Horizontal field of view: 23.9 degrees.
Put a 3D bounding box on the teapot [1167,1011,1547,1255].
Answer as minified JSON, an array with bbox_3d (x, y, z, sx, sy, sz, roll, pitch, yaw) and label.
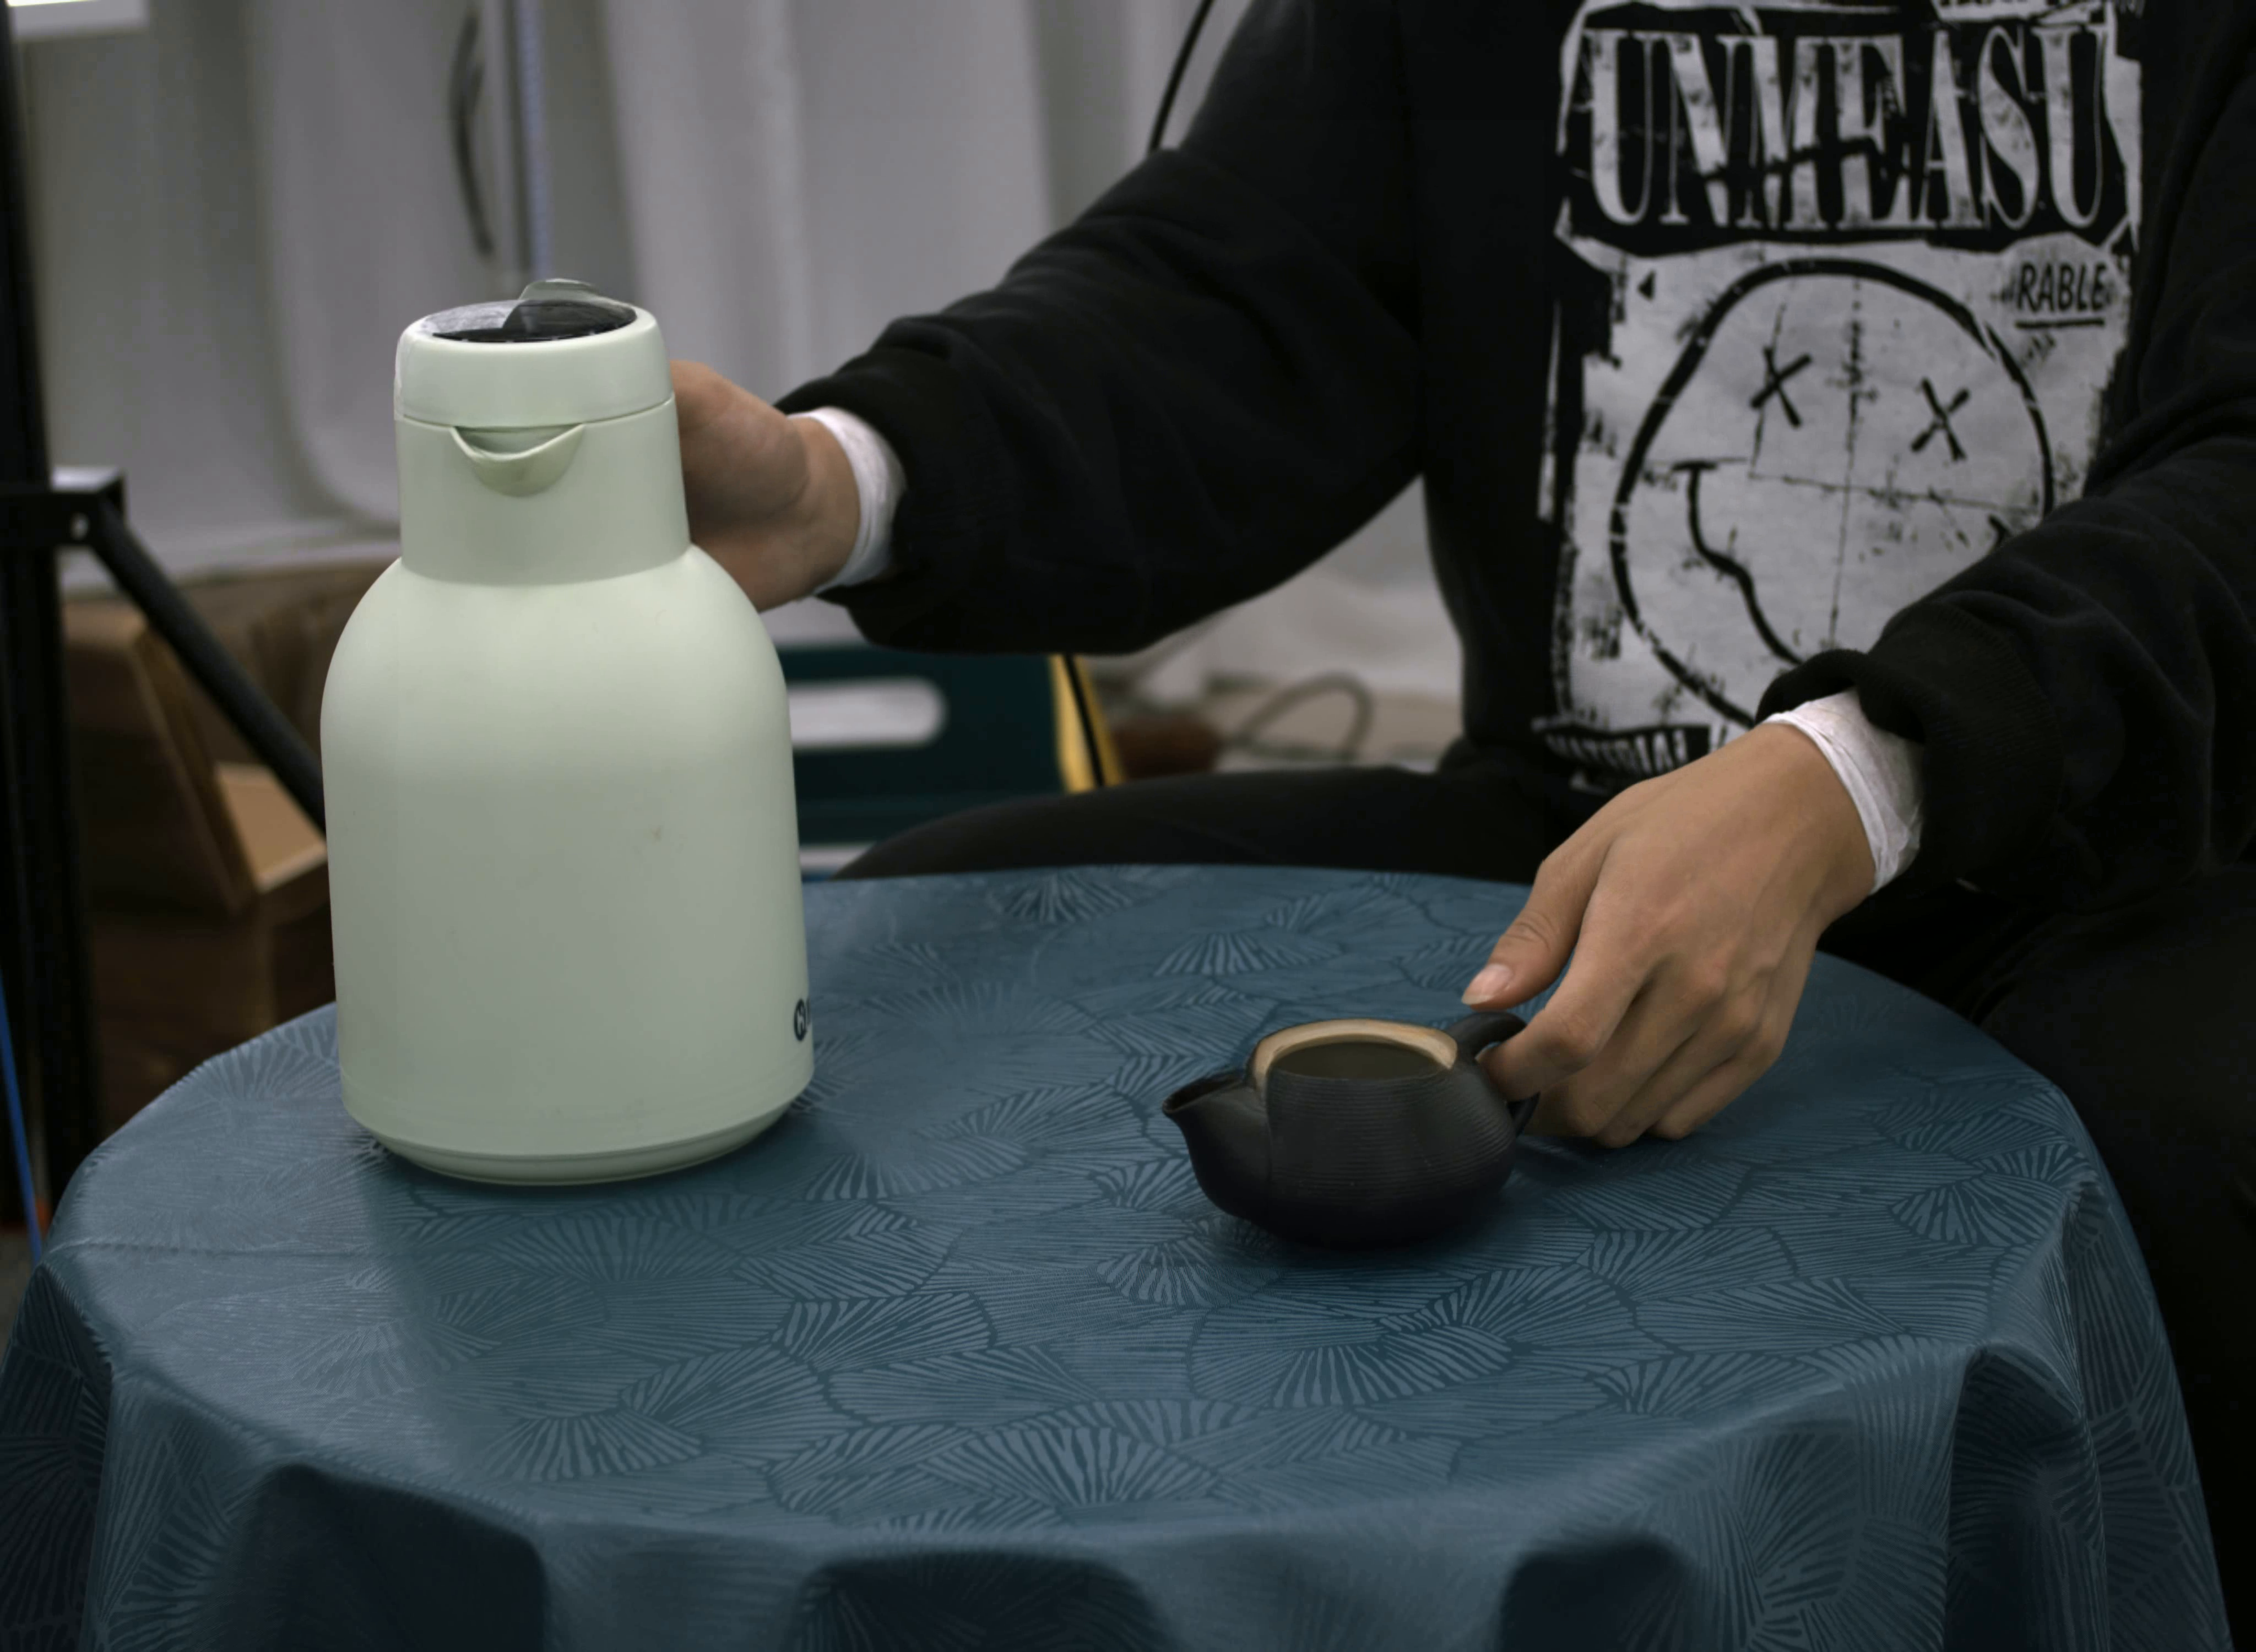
[{"bbox_3d":[0.067,0.089,1.514,0.130,0.053,0.093,-13,20,-32],"label":"teapot"}]

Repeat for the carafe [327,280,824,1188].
[{"bbox_3d":[-0.170,-0.033,1.624,0.144,0.257,0.187,-3,12,3],"label":"carafe"}]
